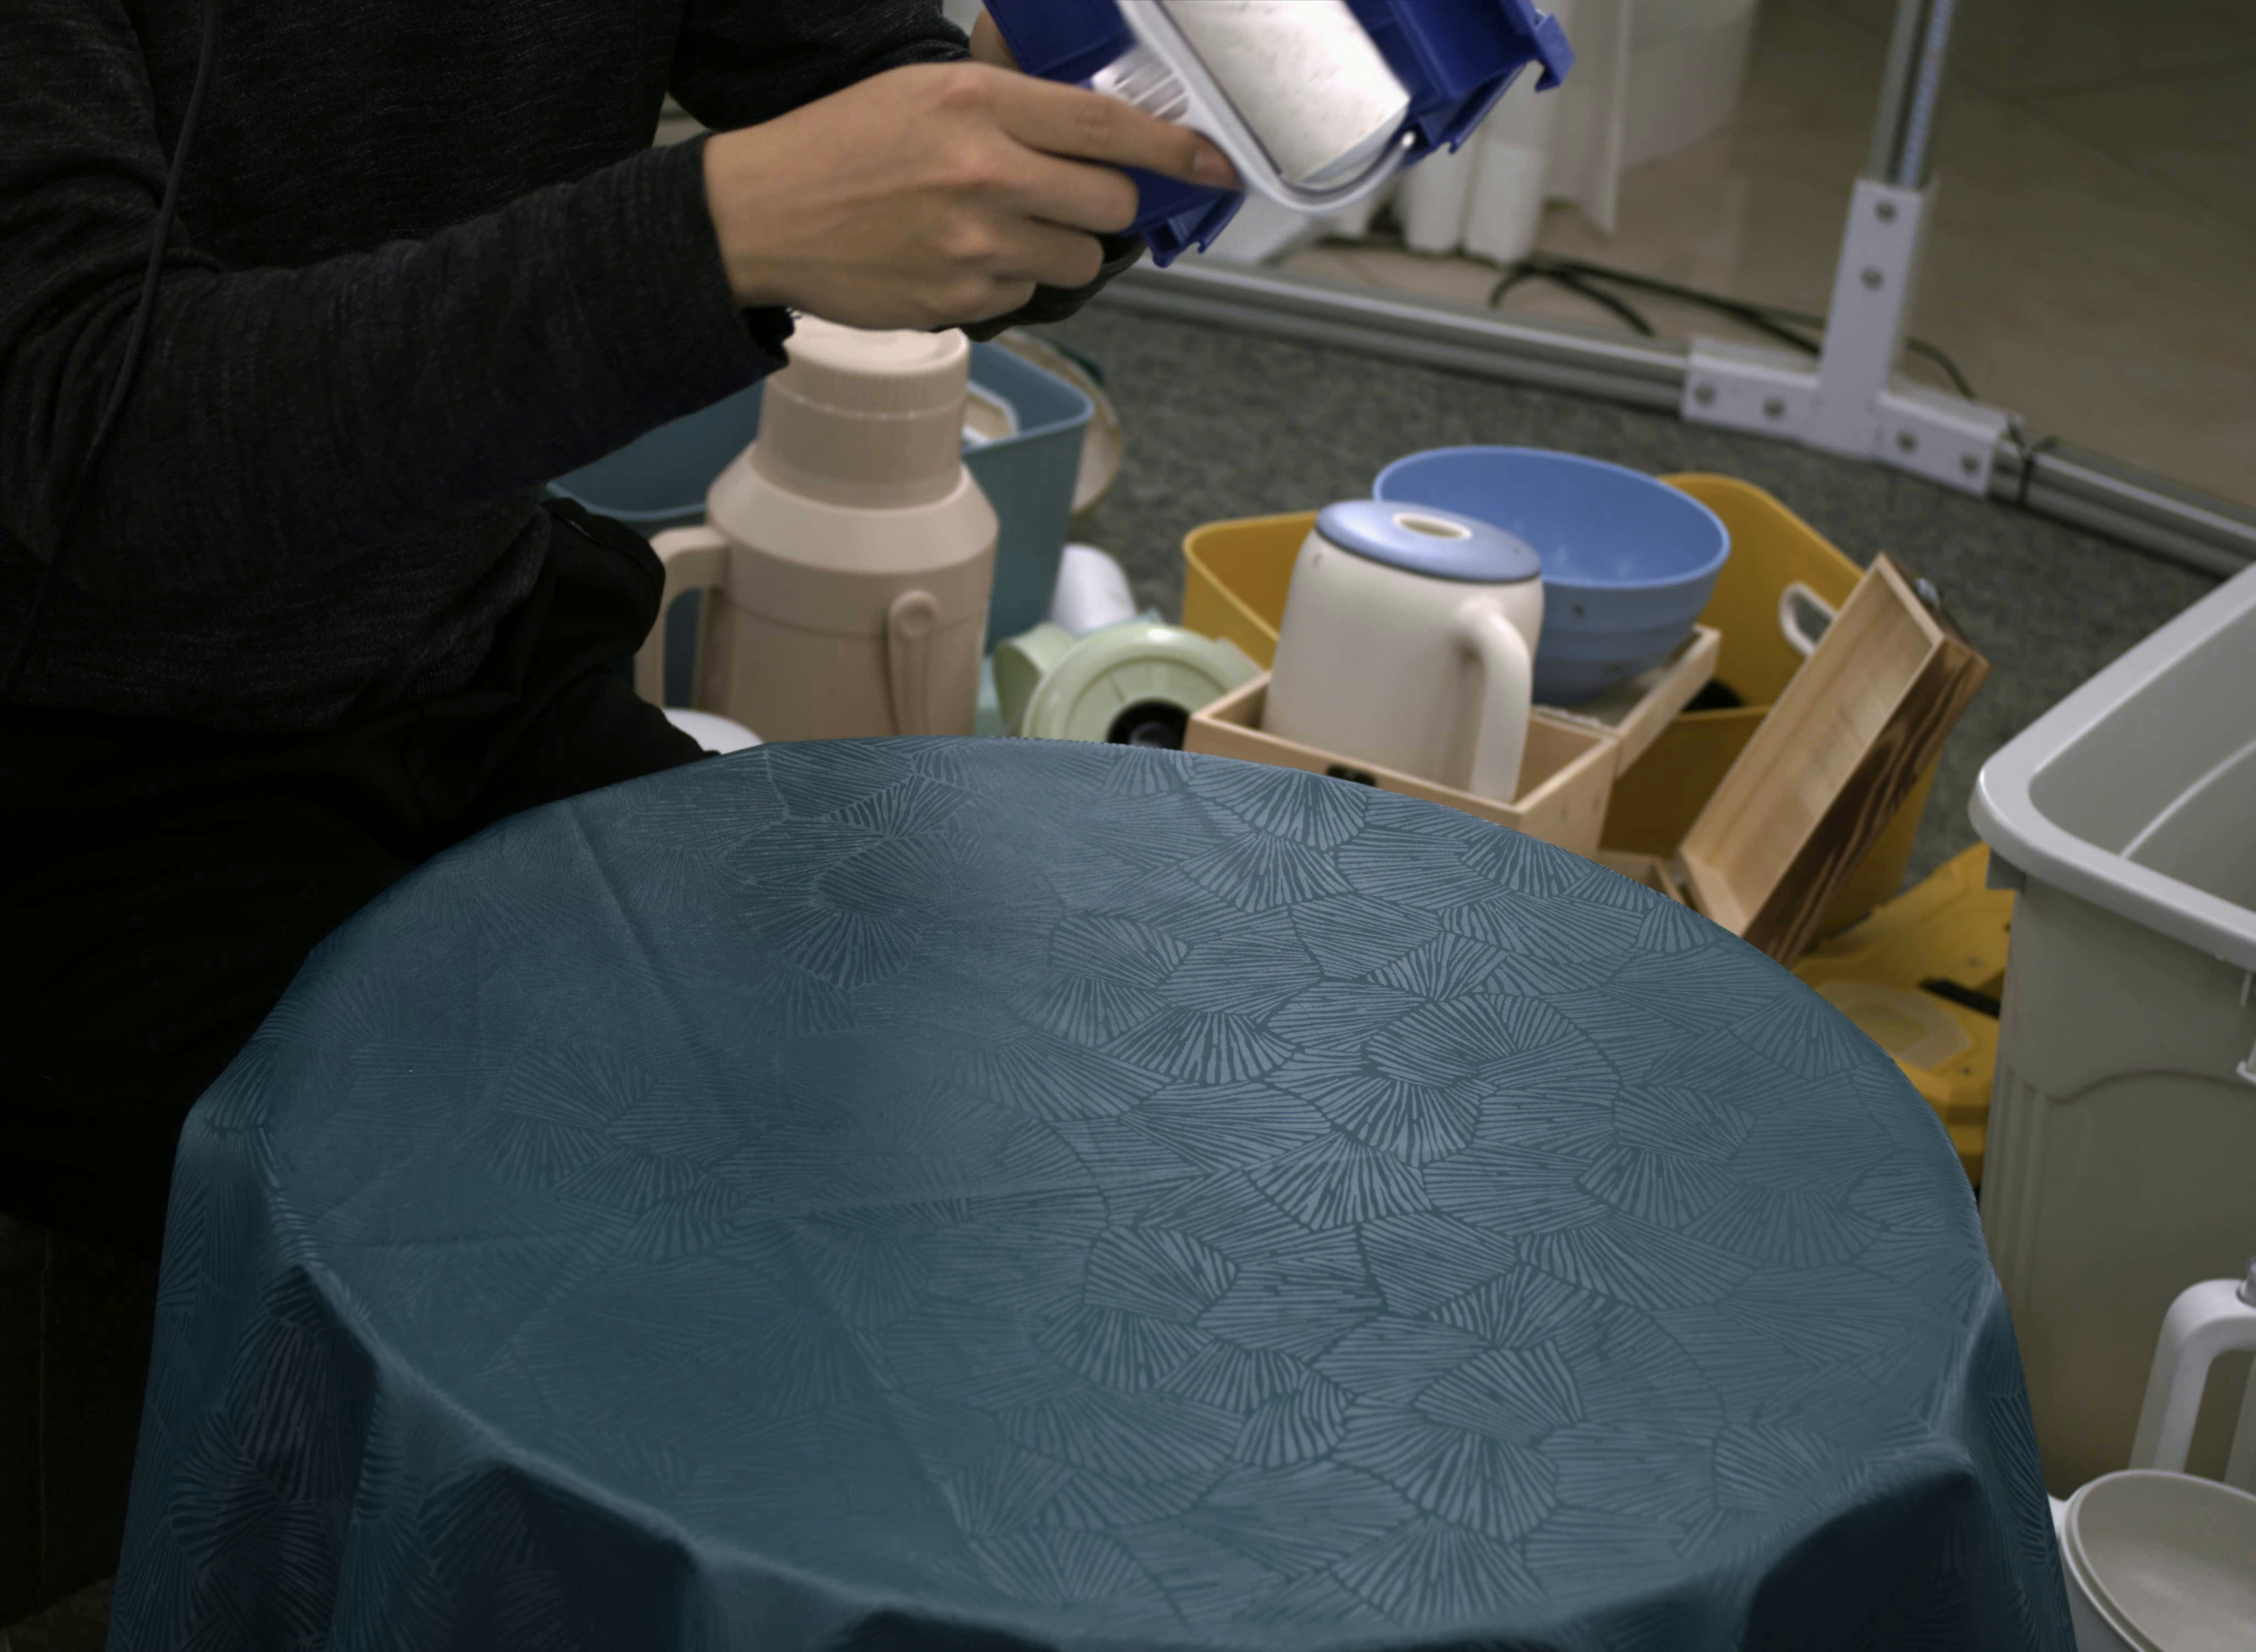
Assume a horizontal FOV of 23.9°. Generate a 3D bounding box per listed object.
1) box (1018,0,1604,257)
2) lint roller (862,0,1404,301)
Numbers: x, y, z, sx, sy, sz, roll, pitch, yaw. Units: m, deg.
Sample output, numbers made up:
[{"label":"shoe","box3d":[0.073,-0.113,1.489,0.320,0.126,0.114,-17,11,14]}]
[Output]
[{"label":"box","box3d":[0.058,-0.277,1.745,0.180,0.124,0.082,-21,19,34]},{"label":"lint roller","box3d":[-0.016,-0.221,1.681,0.181,0.132,0.050,-33,11,15]}]
